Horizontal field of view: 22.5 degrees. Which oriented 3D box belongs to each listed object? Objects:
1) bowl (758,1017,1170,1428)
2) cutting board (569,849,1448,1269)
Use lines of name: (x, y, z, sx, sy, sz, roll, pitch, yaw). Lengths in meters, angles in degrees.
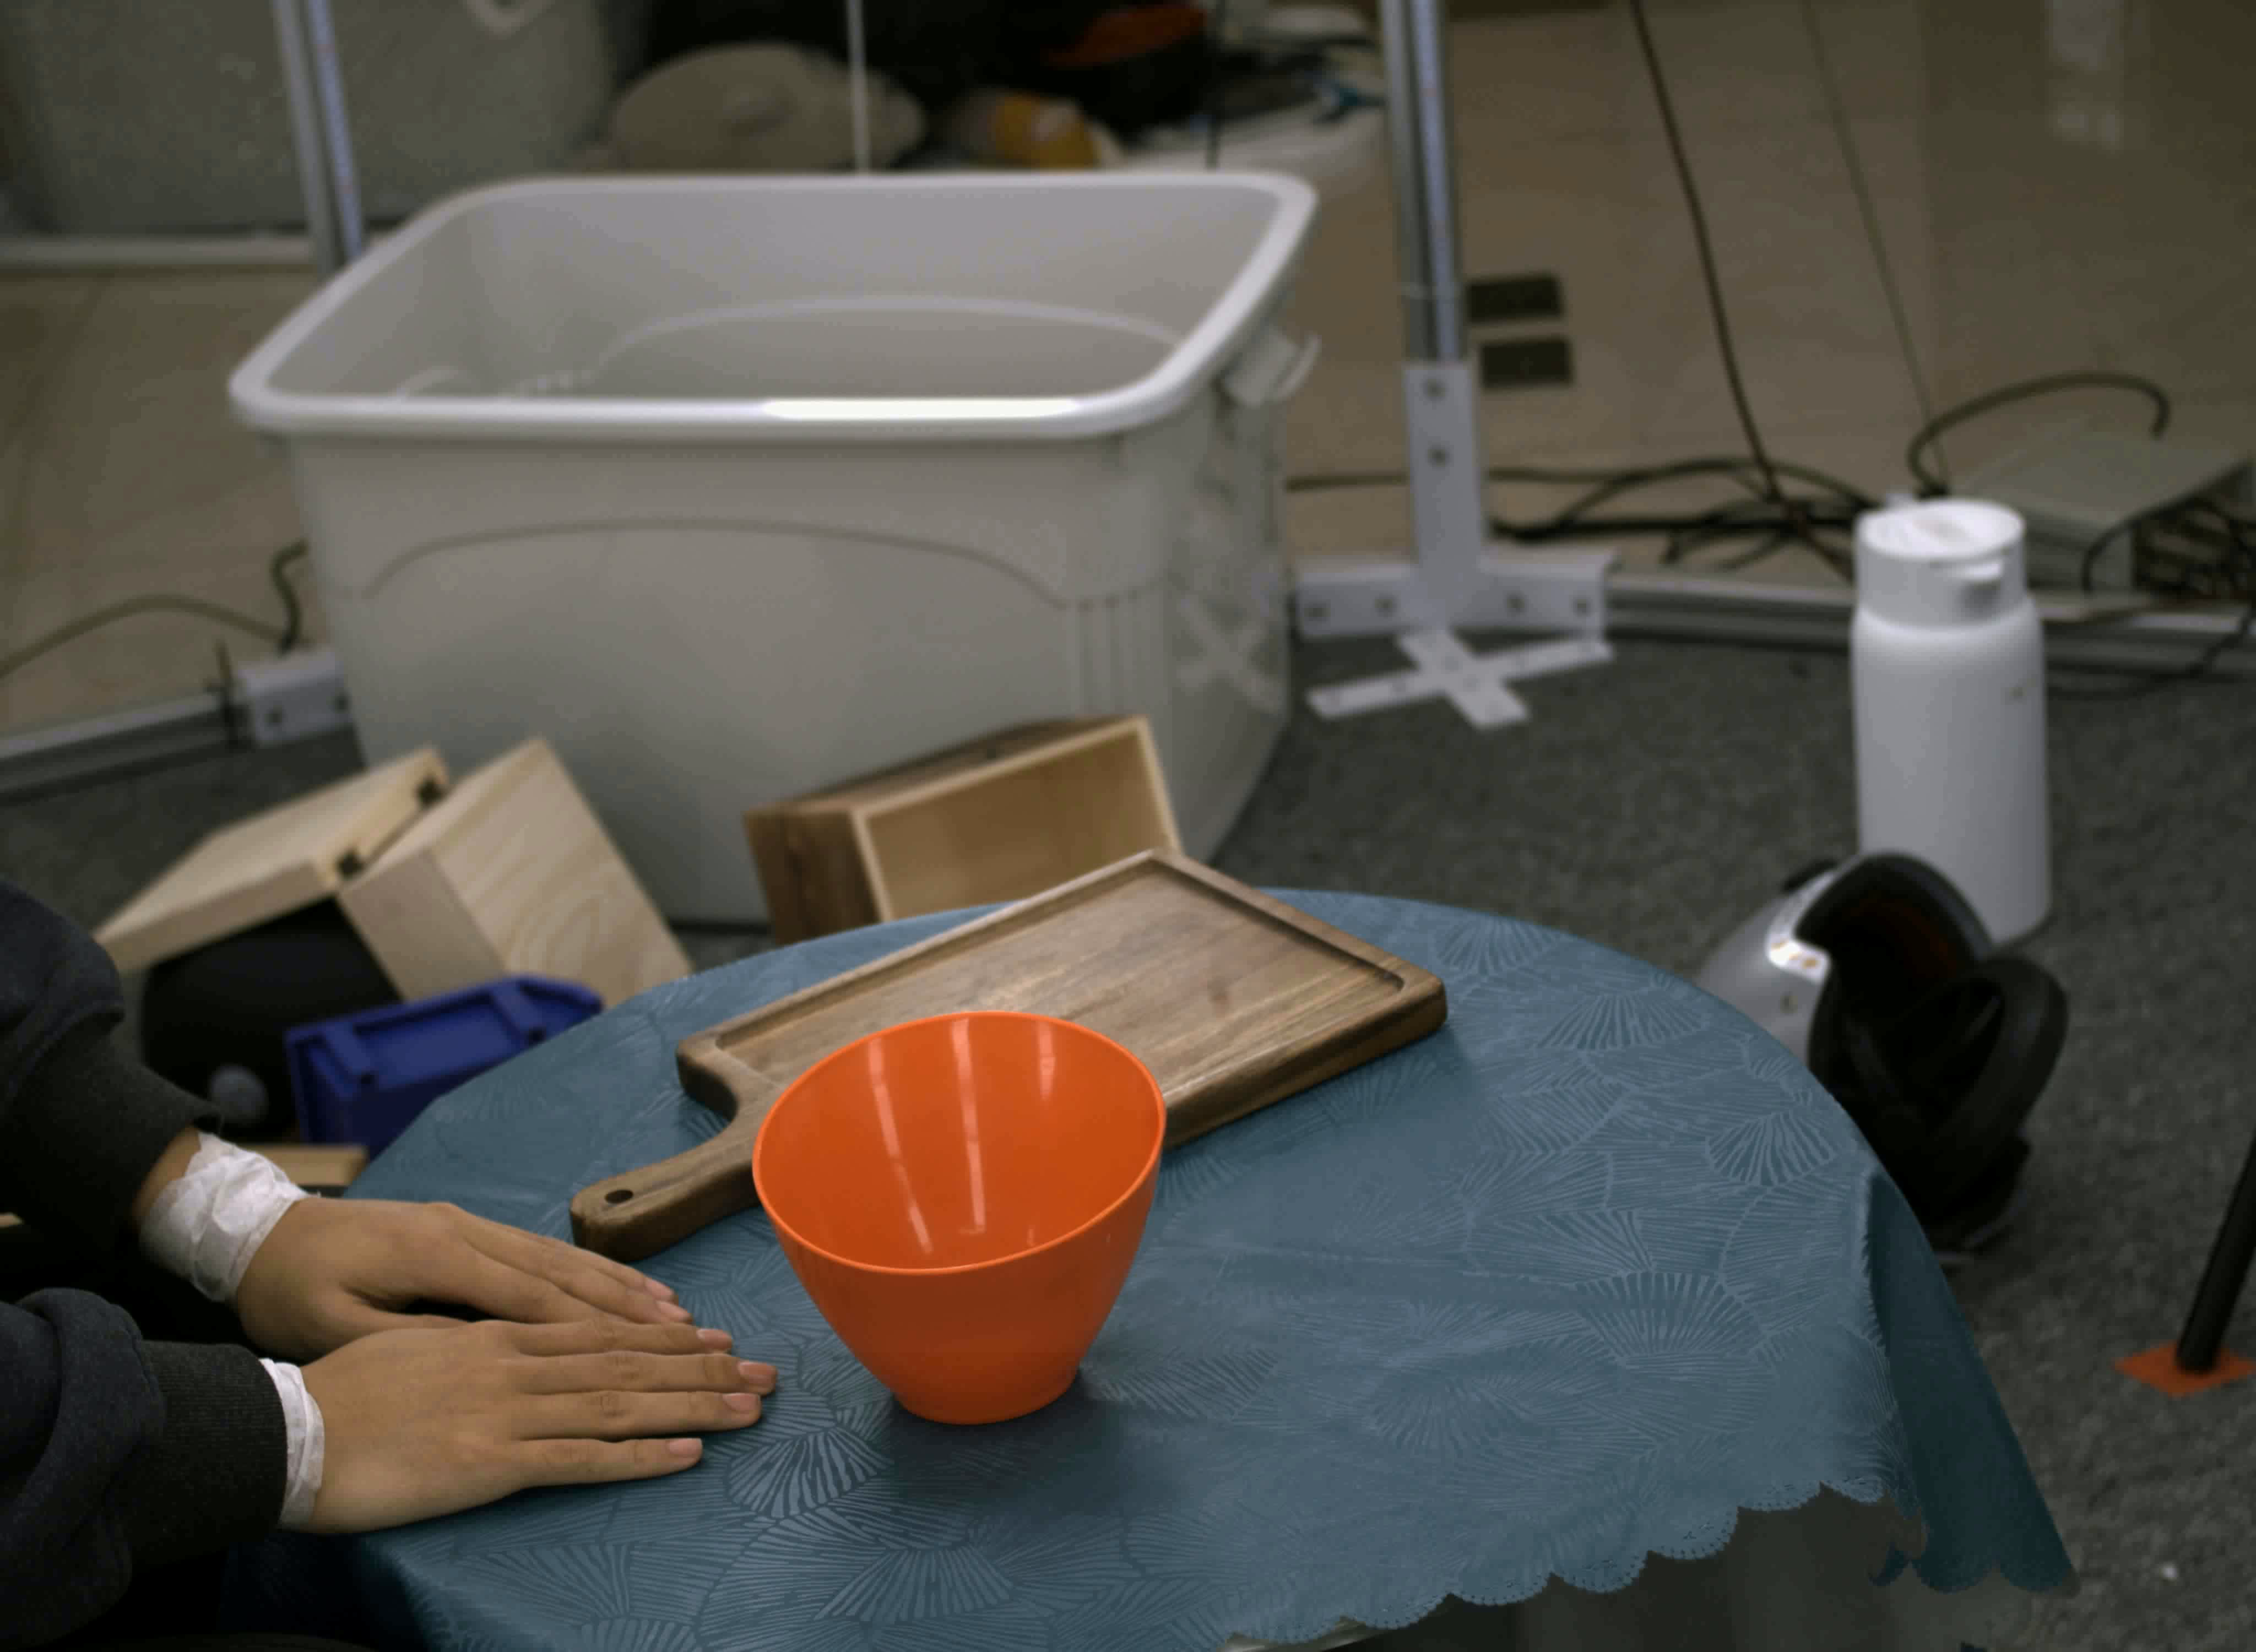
bowl: (-0.054, 0.147, 2.021, 0.148, 0.106, 0.146, -5, 25, 2)
cutting board: (-0.068, 0.099, 2.226, 0.350, 0.023, 0.199, -22, 29, -30)
